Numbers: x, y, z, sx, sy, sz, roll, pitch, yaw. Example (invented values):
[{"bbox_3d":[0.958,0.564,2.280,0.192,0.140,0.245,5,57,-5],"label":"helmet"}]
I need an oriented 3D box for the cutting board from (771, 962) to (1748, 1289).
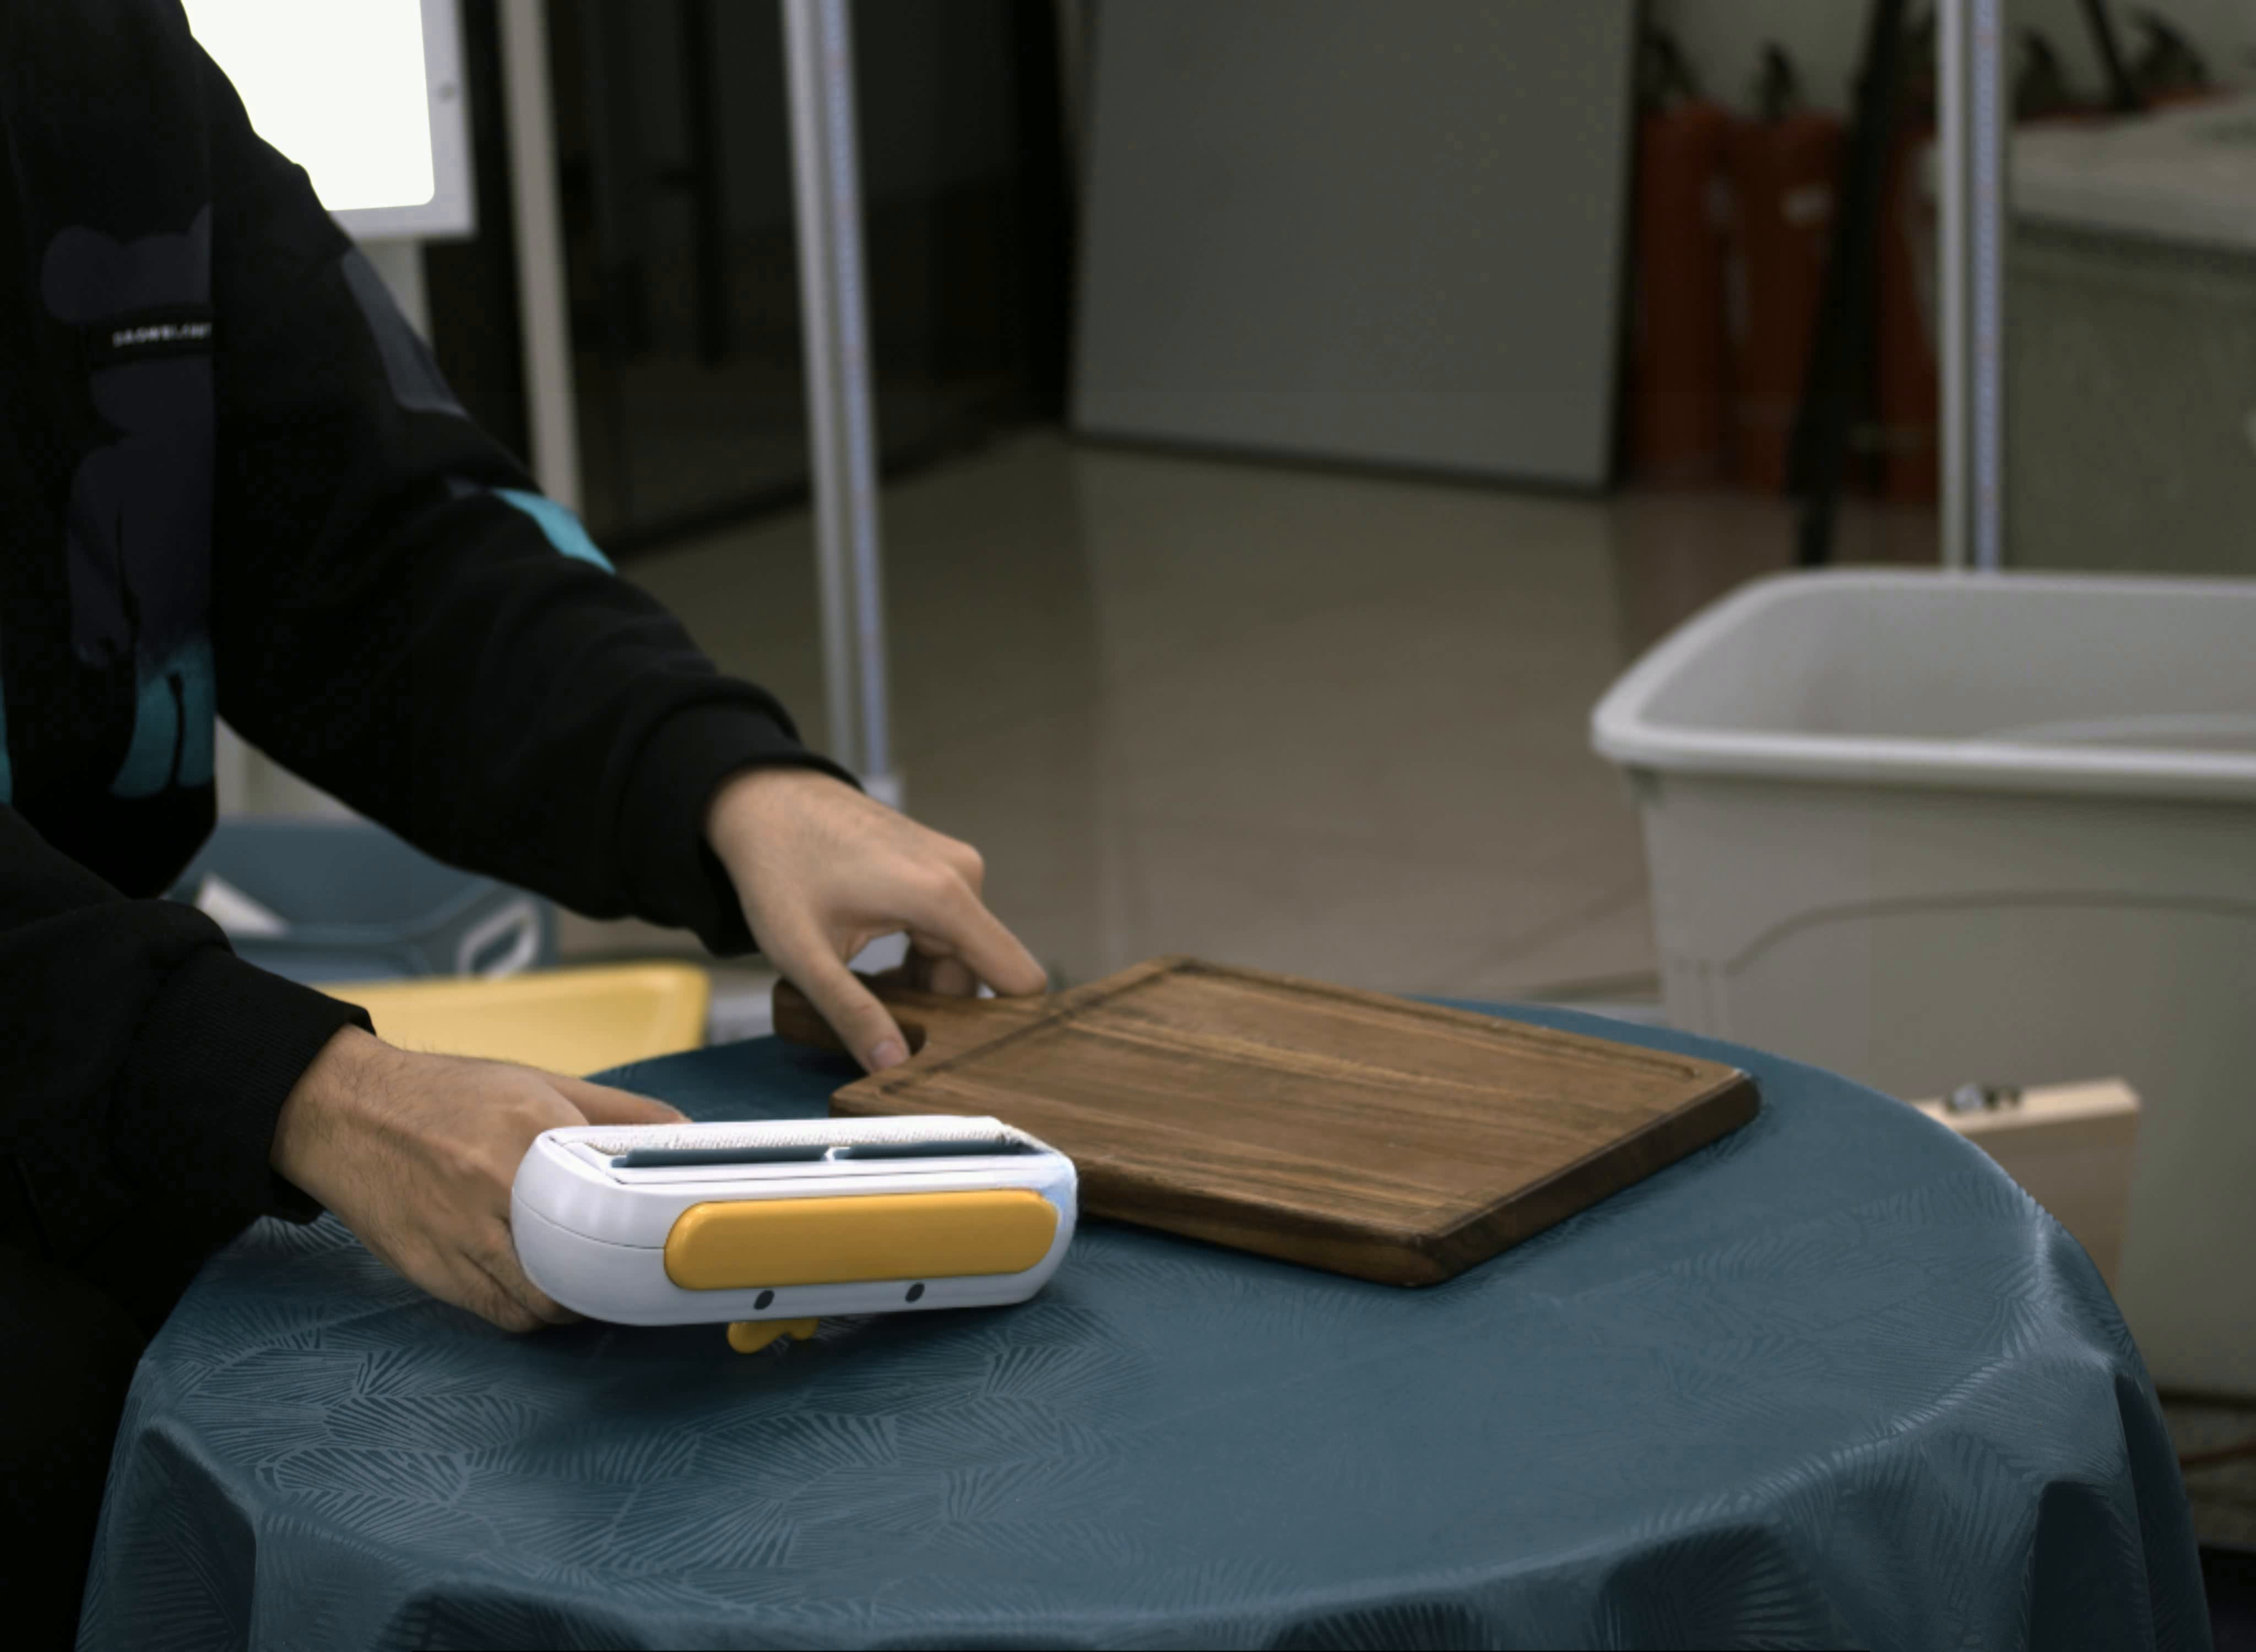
[{"bbox_3d":[0.016,0.089,1.830,0.355,0.023,0.197,9,20,38],"label":"cutting board"}]

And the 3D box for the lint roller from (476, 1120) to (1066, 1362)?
[{"bbox_3d":[-0.138,0.118,1.682,0.188,0.075,0.194,-4,10,-34],"label":"lint roller"}]
